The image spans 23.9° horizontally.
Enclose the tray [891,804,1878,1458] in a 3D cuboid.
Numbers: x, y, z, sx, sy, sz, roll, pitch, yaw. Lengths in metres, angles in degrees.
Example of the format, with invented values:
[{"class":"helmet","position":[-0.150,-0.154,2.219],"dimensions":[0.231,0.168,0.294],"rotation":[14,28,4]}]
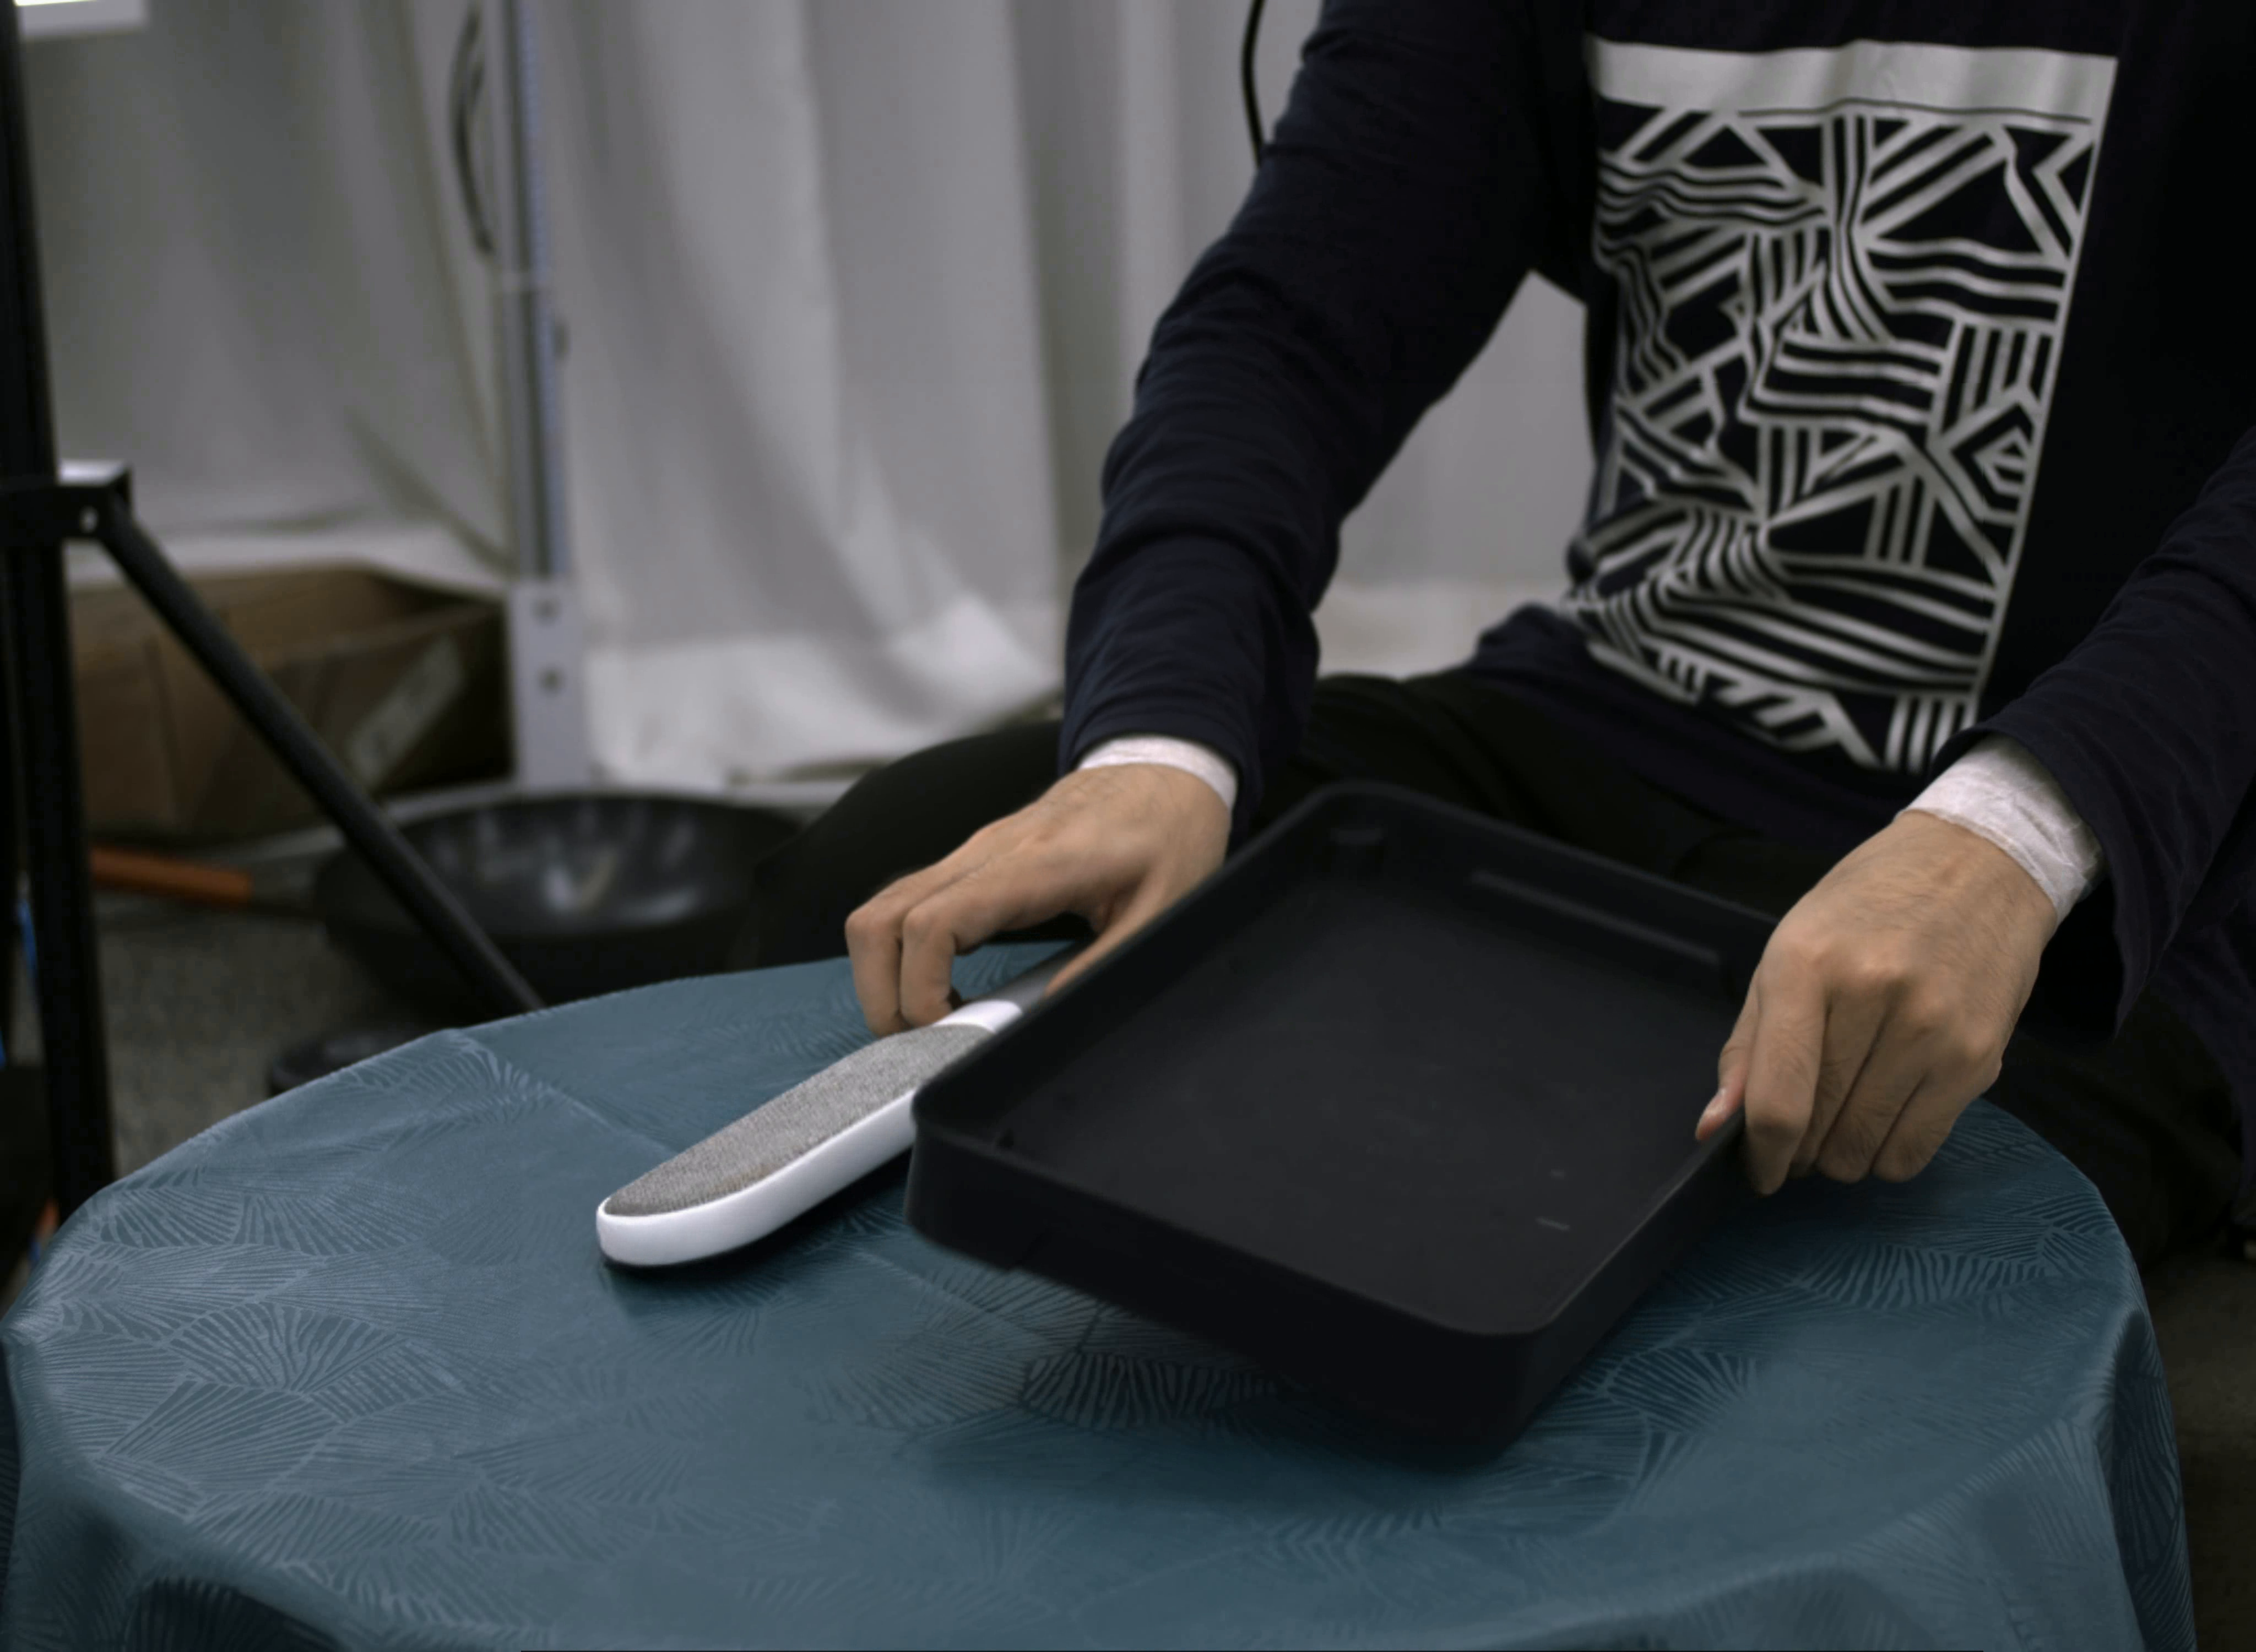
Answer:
[{"class":"tray","position":[0.079,0.077,1.488],"dimensions":[0.187,0.037,0.313],"rotation":[18,24,22]}]

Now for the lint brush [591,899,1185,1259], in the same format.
[{"class":"lint brush","position":[-0.063,0.074,1.622],"dimensions":[0.061,0.021,0.303],"rotation":[-9,11,33]}]
